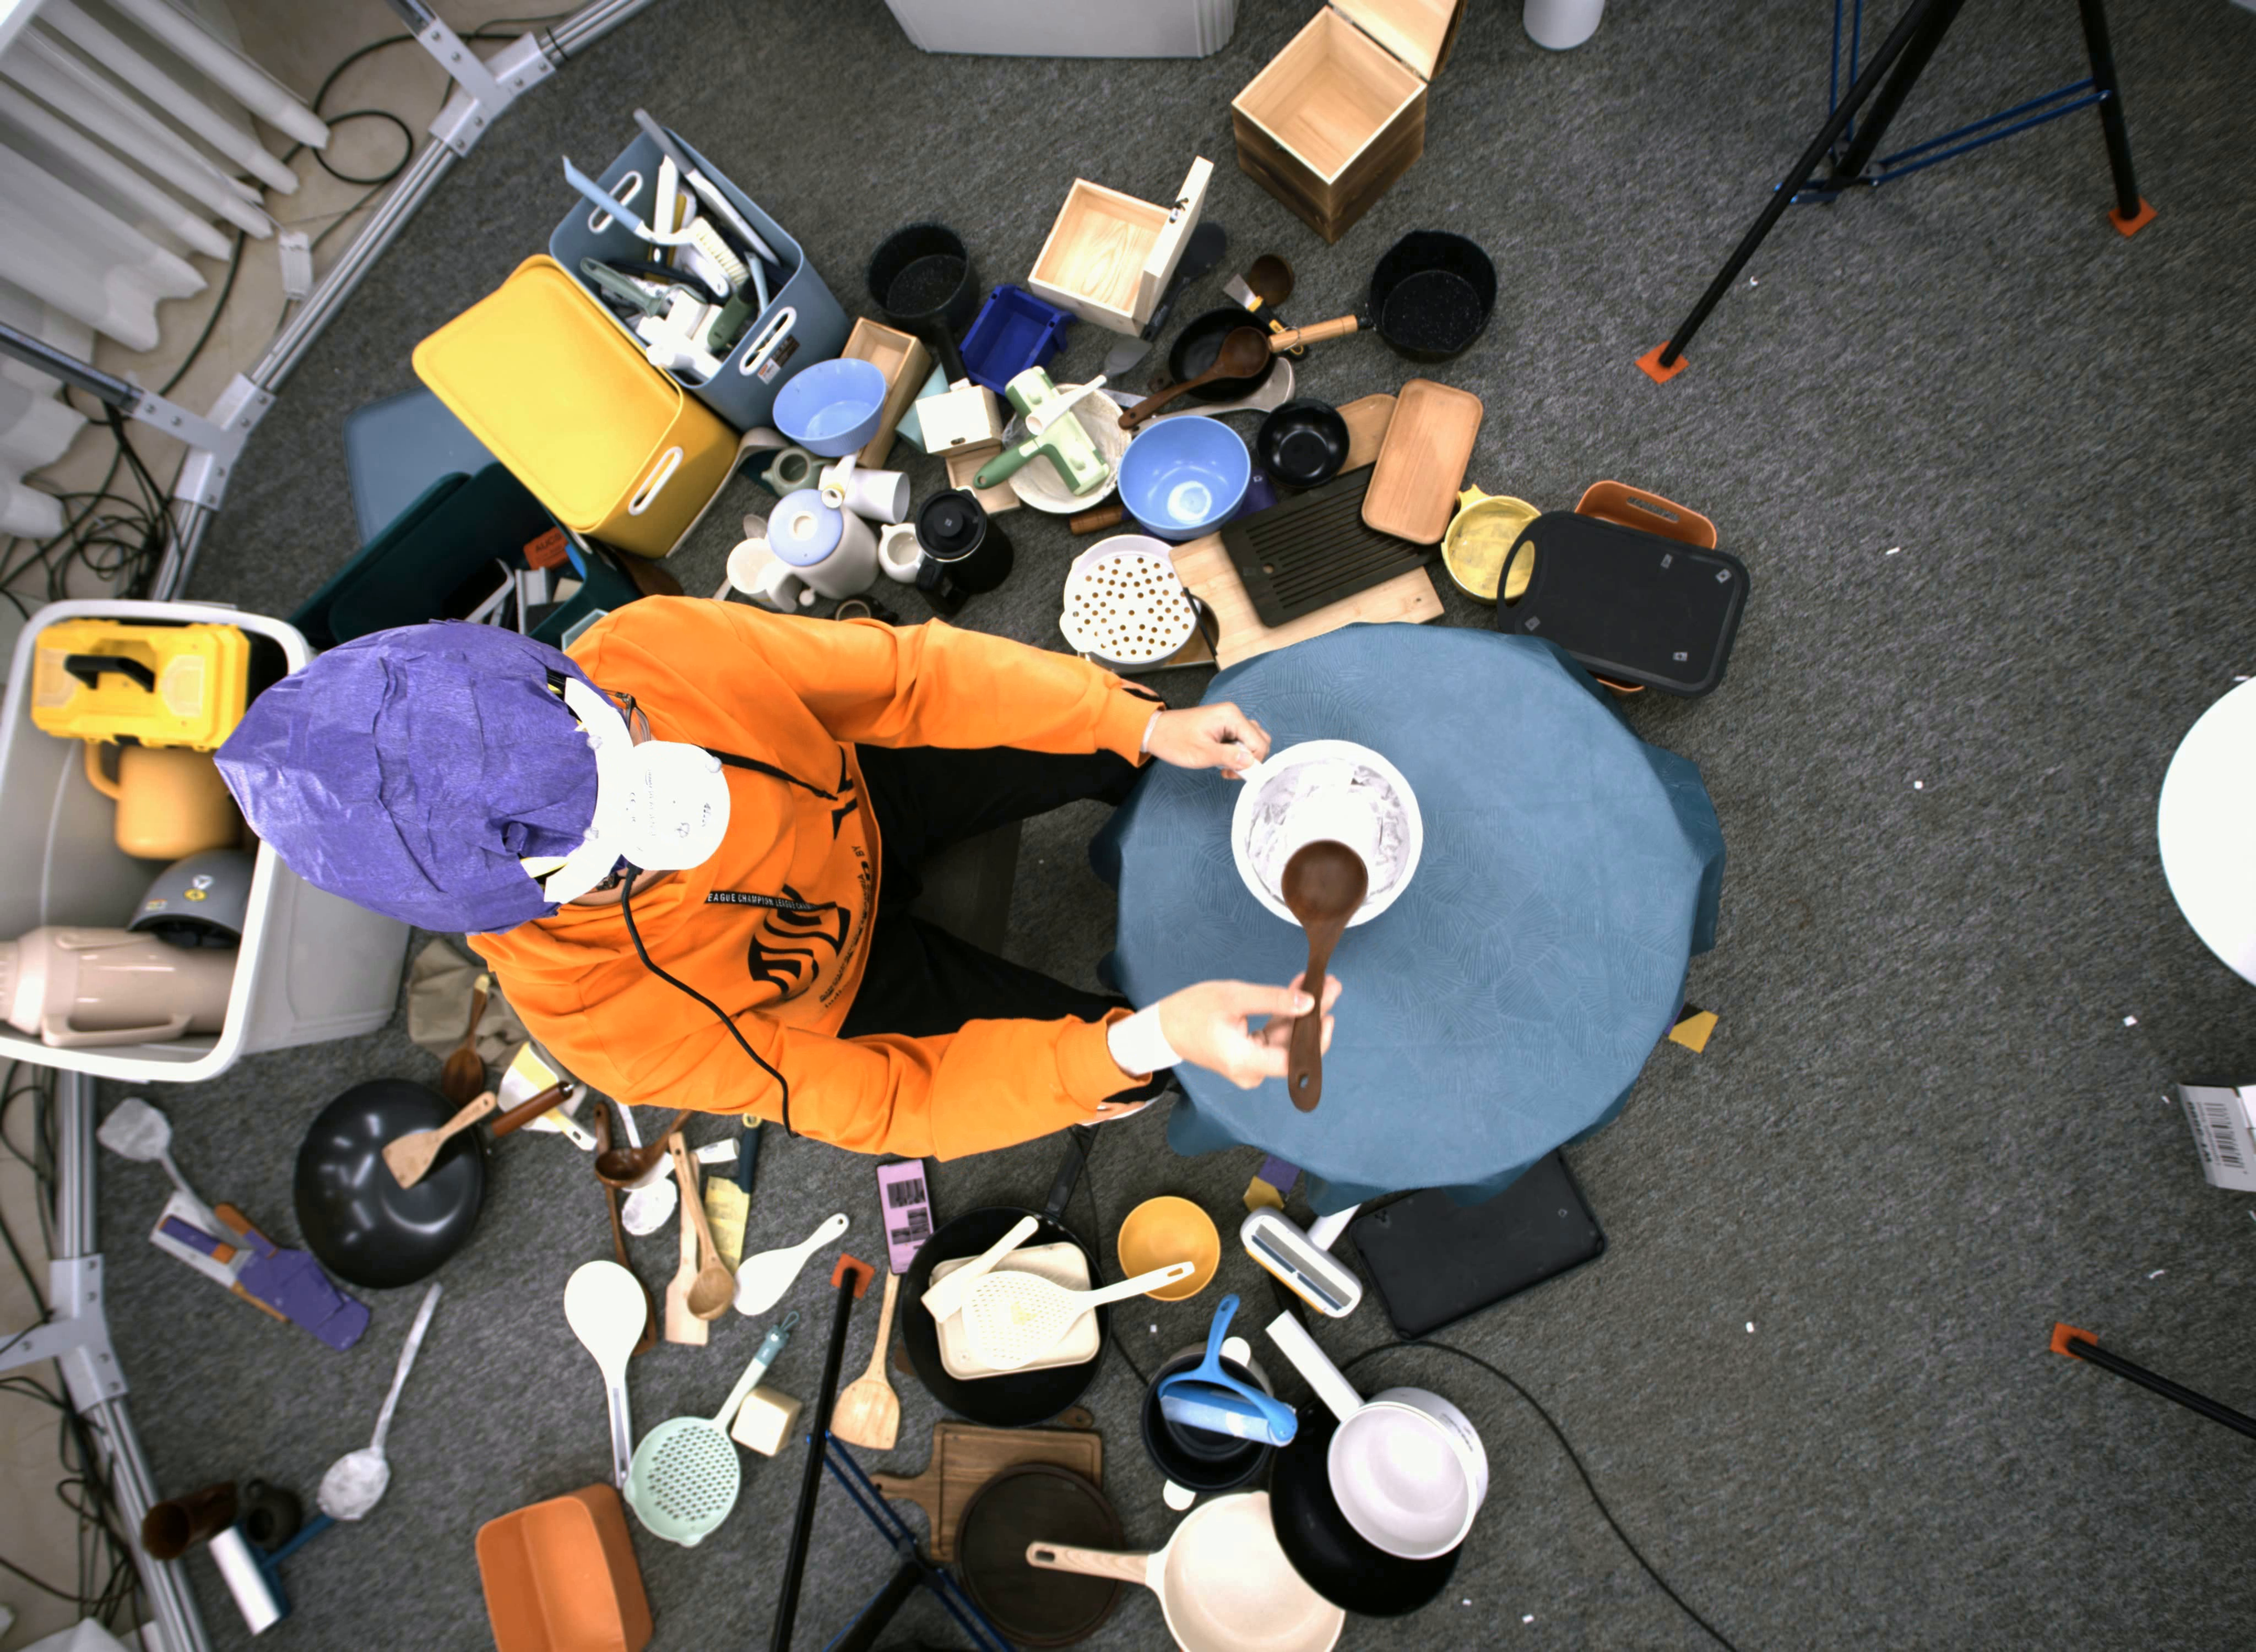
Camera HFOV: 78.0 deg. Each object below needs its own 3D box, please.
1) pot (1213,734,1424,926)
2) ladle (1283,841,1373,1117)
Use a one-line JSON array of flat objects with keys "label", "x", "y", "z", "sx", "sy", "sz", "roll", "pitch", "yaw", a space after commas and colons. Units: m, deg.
[{"label": "pot", "x": 0.175, "y": -0.008, "z": 1.350, "sx": 0.233, "sy": 0.136, "sz": 0.179, "roll": 40, "pitch": 94, "yaw": 9}, {"label": "ladle", "x": 0.149, "y": 0.113, "z": 1.105, "sx": 0.077, "sy": 0.253, "sz": 0.066, "roll": -10, "pitch": 126, "yaw": 25}]
